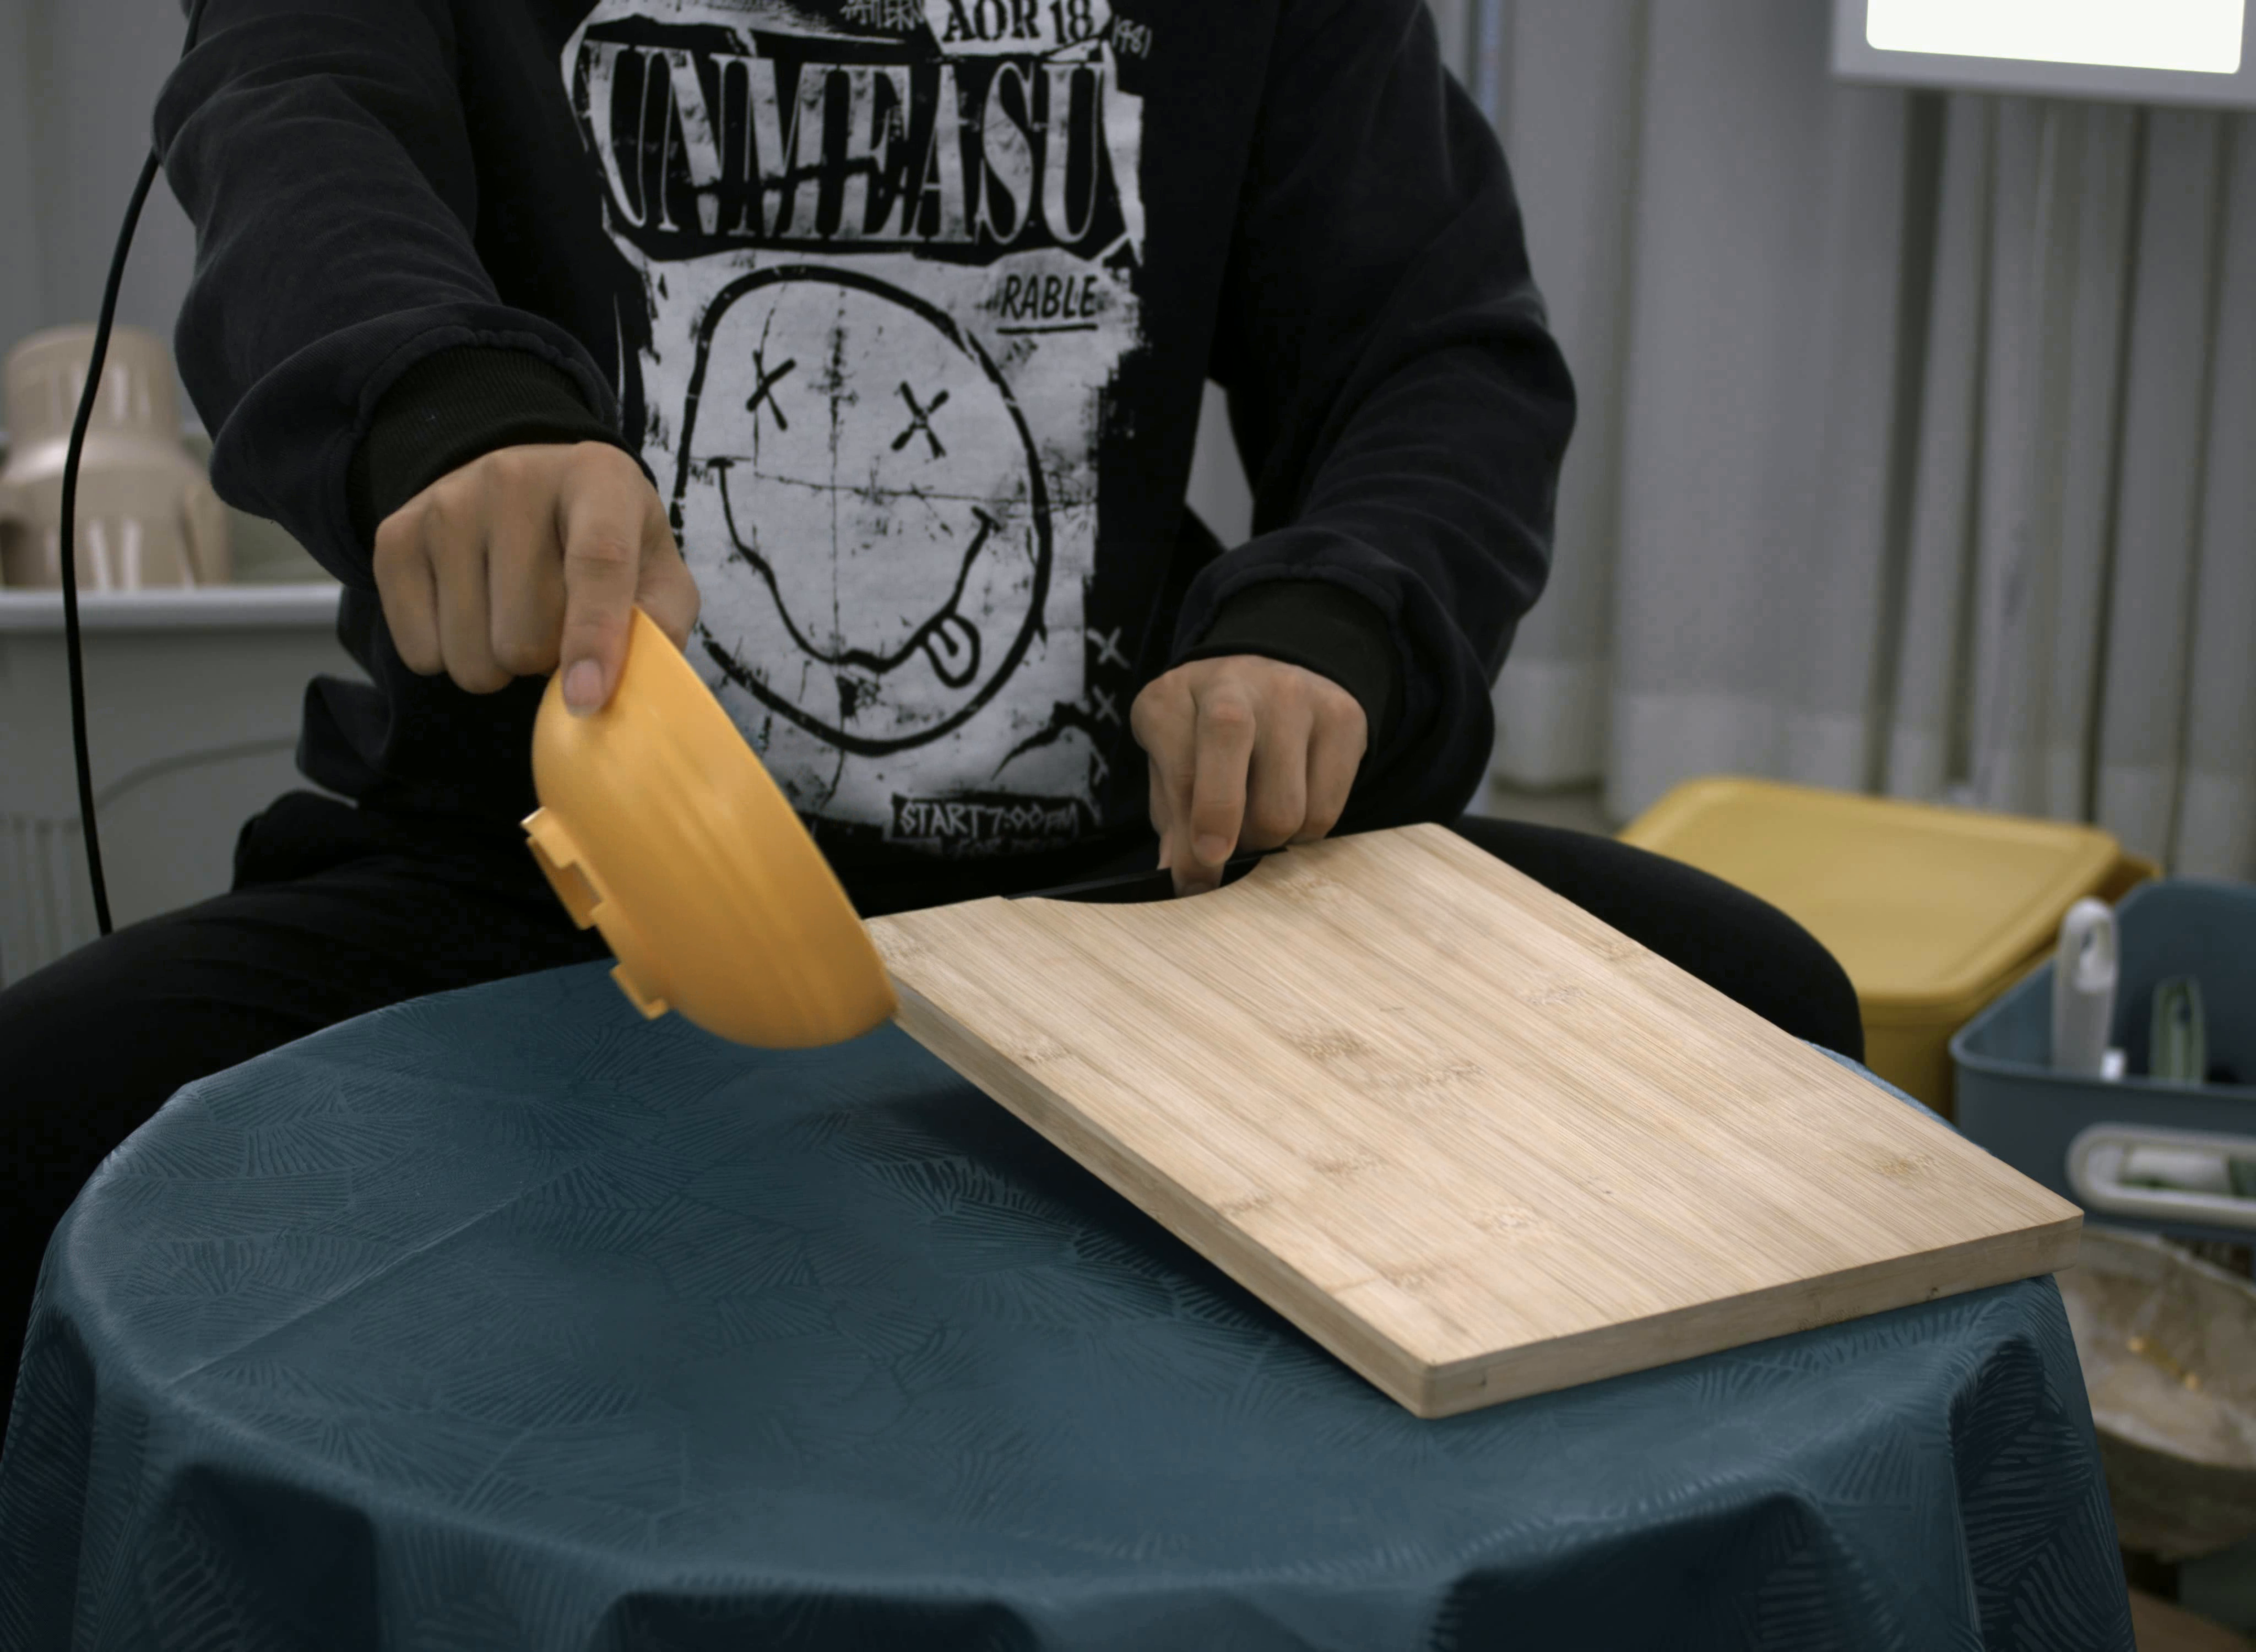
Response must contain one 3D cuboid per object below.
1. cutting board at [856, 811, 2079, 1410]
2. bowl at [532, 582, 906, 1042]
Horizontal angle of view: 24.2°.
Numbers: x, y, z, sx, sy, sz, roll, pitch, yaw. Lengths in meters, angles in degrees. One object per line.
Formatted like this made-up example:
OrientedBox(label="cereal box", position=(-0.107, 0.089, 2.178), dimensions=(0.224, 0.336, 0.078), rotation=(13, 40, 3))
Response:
OrientedBox(label="cutting board", position=(0.092, 0.080, 1.639), dimensions=(0.252, 0.024, 0.344), rotation=(-10, 26, -33))
OrientedBox(label="bowl", position=(-0.124, 0.008, 1.466), dimensions=(0.060, 0.147, 0.143), rotation=(-33, 25, -8))
